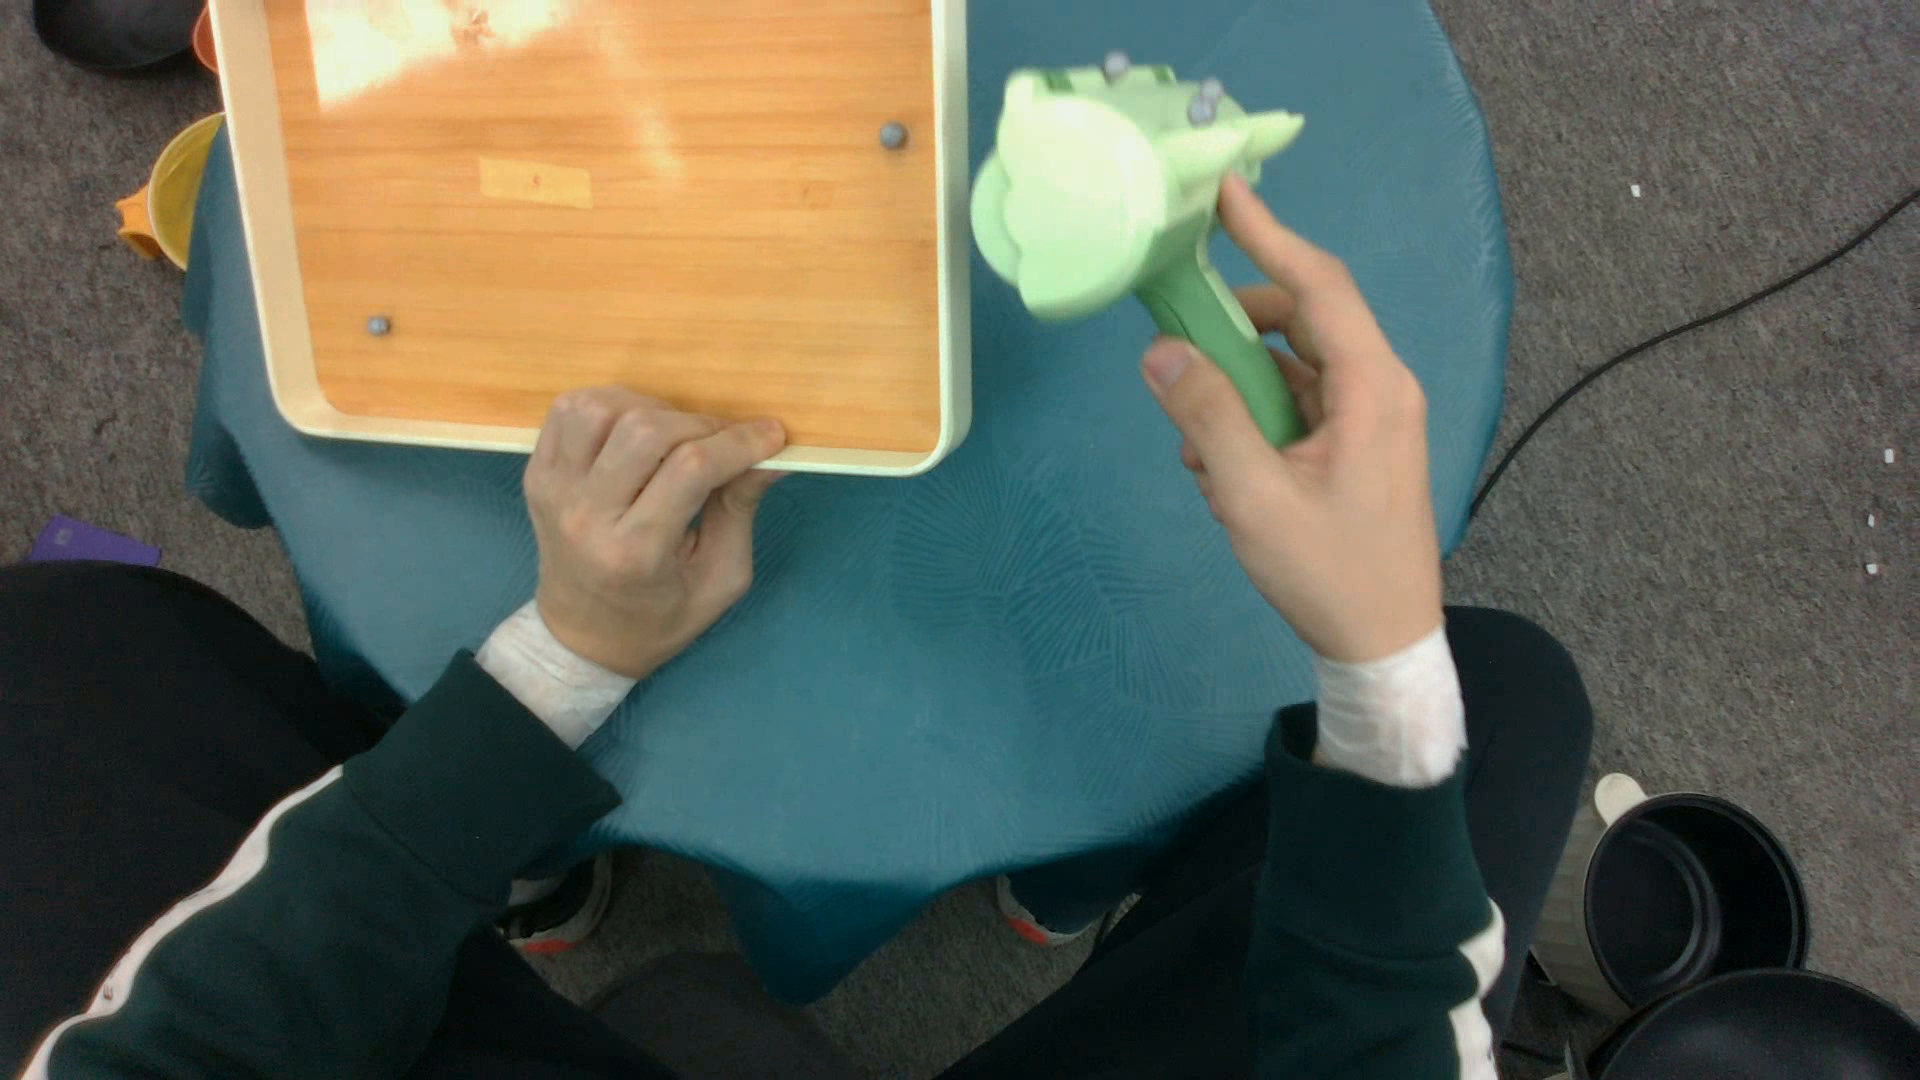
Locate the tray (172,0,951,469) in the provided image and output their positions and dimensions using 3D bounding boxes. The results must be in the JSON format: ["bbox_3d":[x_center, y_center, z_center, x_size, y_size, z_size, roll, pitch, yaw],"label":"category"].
[{"bbox_3d":[-0.151,-0.126,0.512,0.300,0.027,0.191,3,108,18],"label":"tray"}]

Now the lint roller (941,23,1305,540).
[{"bbox_3d":[0.084,-0.091,0.456,0.082,0.199,0.183,-34,95,26],"label":"lint roller"}]
